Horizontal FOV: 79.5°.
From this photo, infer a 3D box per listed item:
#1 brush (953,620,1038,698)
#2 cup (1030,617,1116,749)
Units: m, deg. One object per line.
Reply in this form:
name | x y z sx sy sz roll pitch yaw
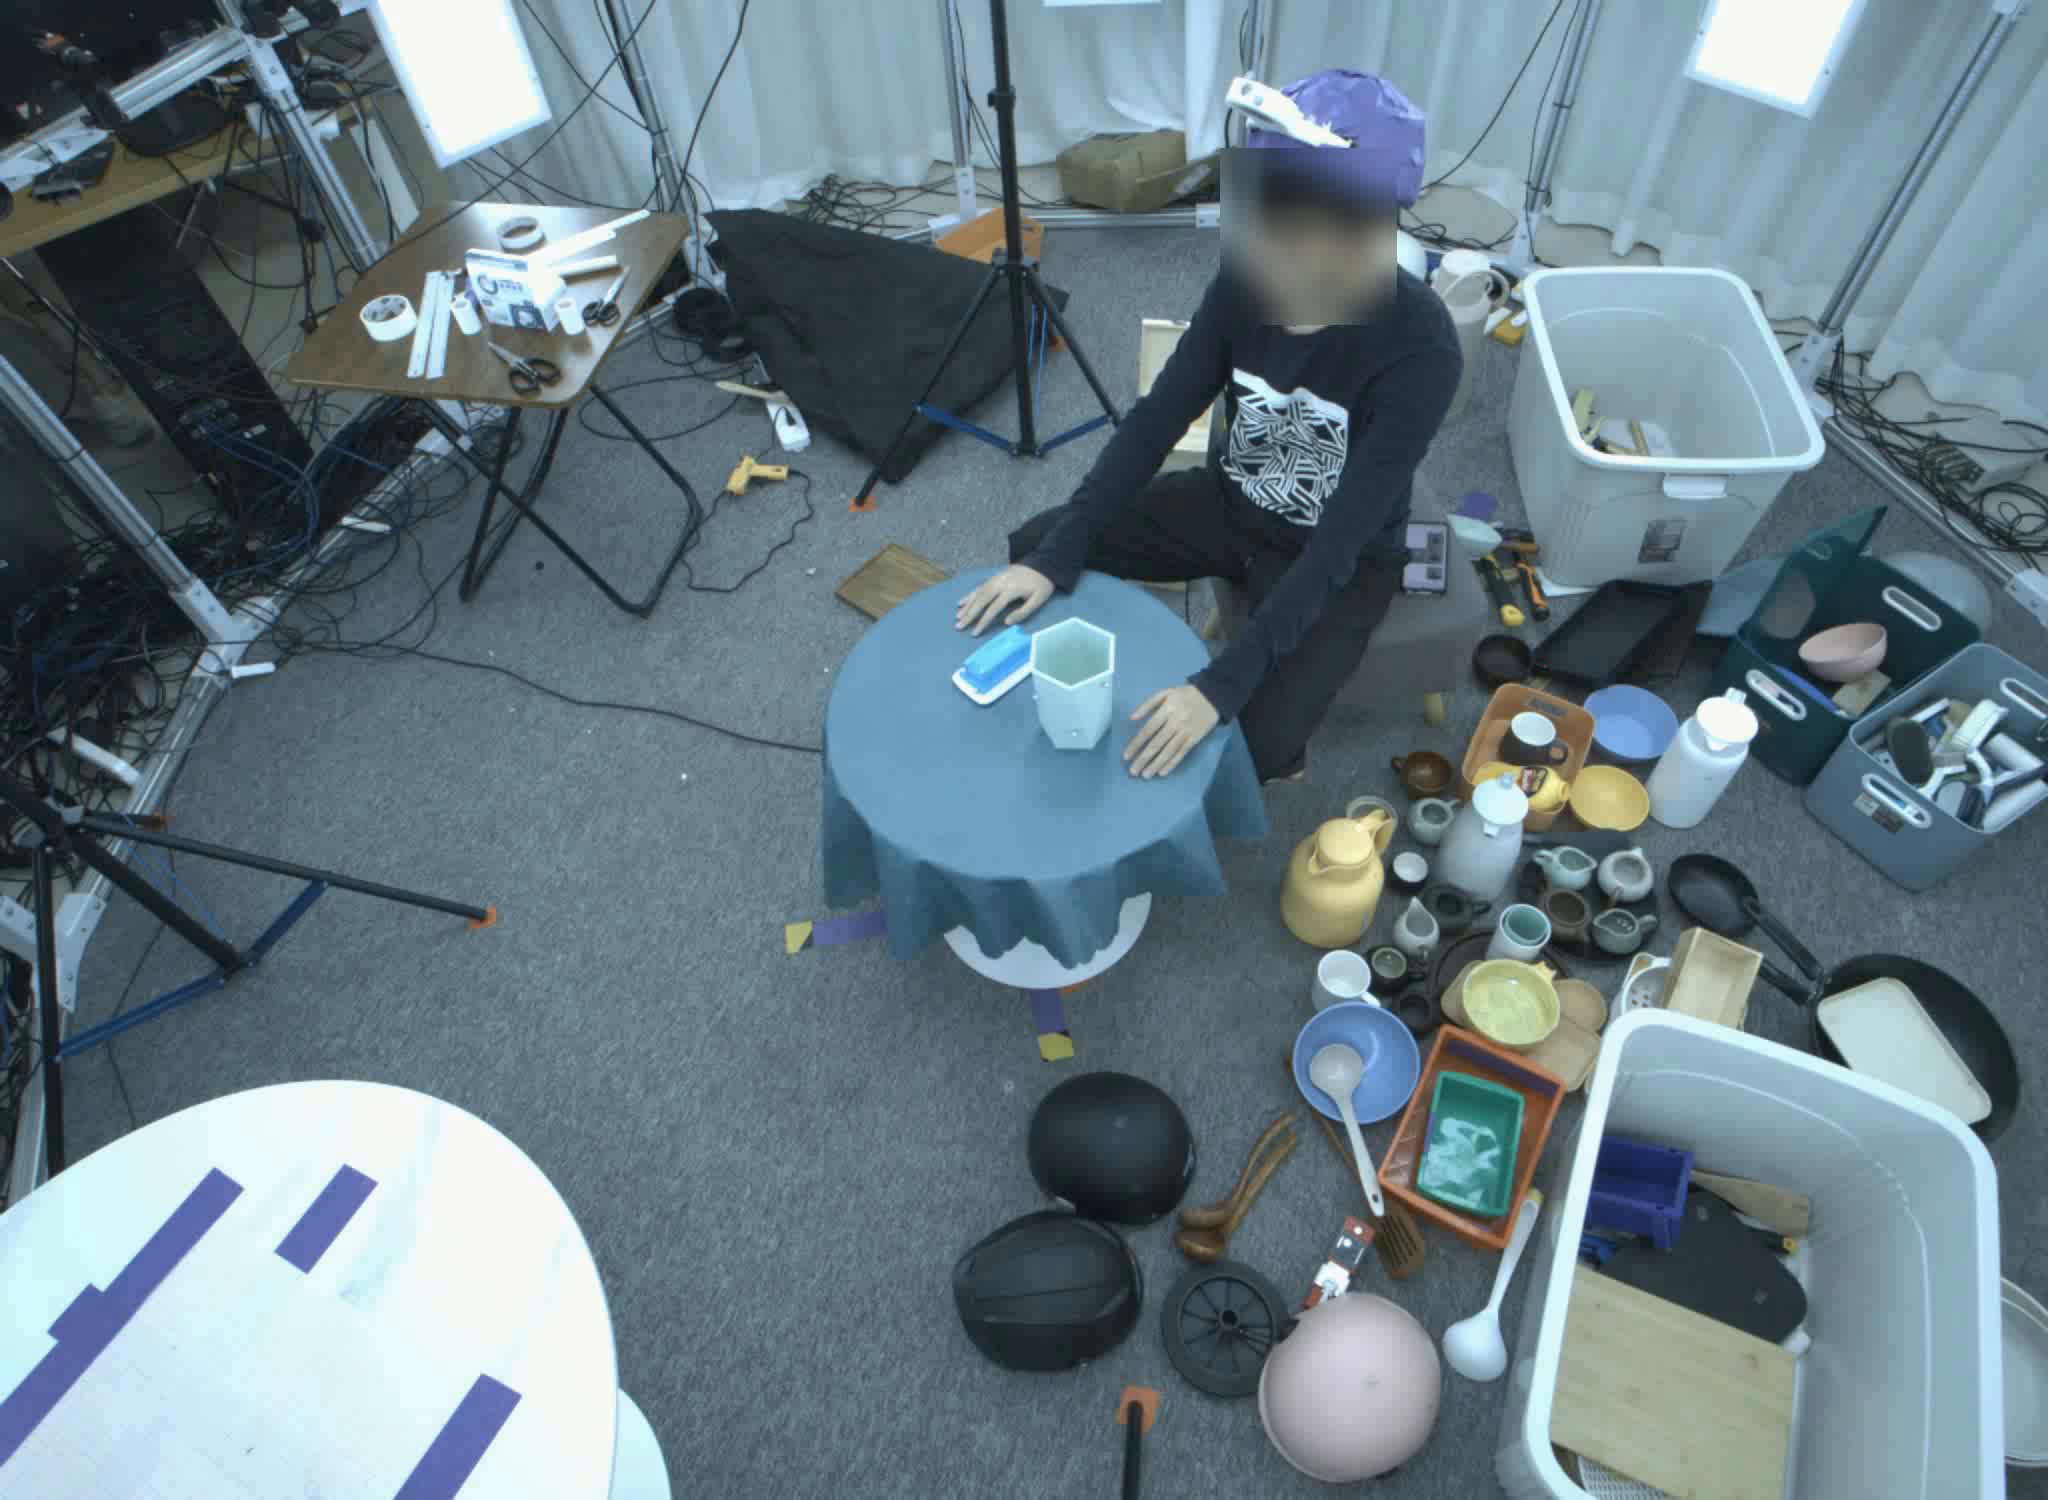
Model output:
brush | -0.034 -0.145 1.847 0.145 0.056 0.082 -38 64 -19
cup | 0.071 -0.085 1.738 0.129 0.165 0.115 25 58 20
